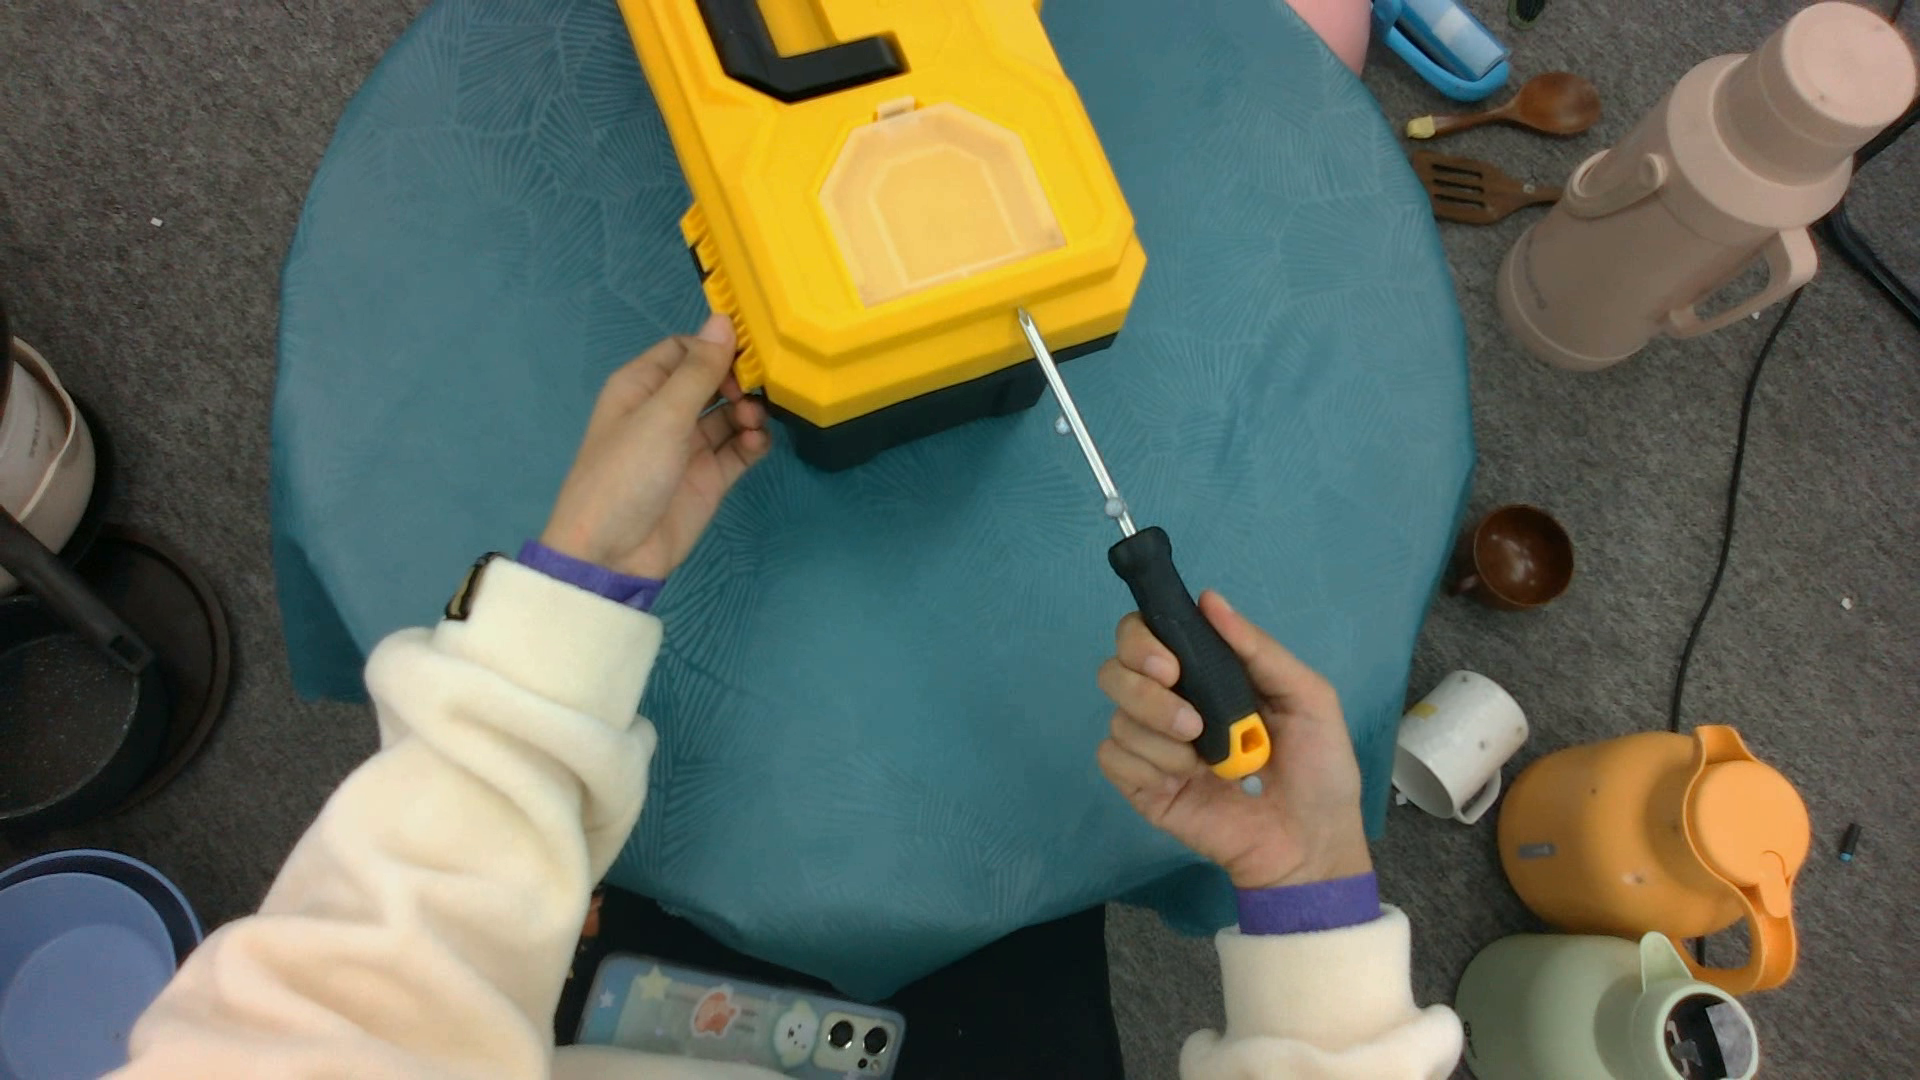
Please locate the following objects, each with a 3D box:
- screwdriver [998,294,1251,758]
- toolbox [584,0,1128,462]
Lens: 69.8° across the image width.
[{"bbox_3d":[0.056,-0.007,0.528,0.031,0.031,0.196,-25,79,-14],"label":"screwdriver"},{"bbox_3d":[-0.071,-0.220,0.634,0.181,0.172,0.352,-19,77,-12],"label":"toolbox"}]
